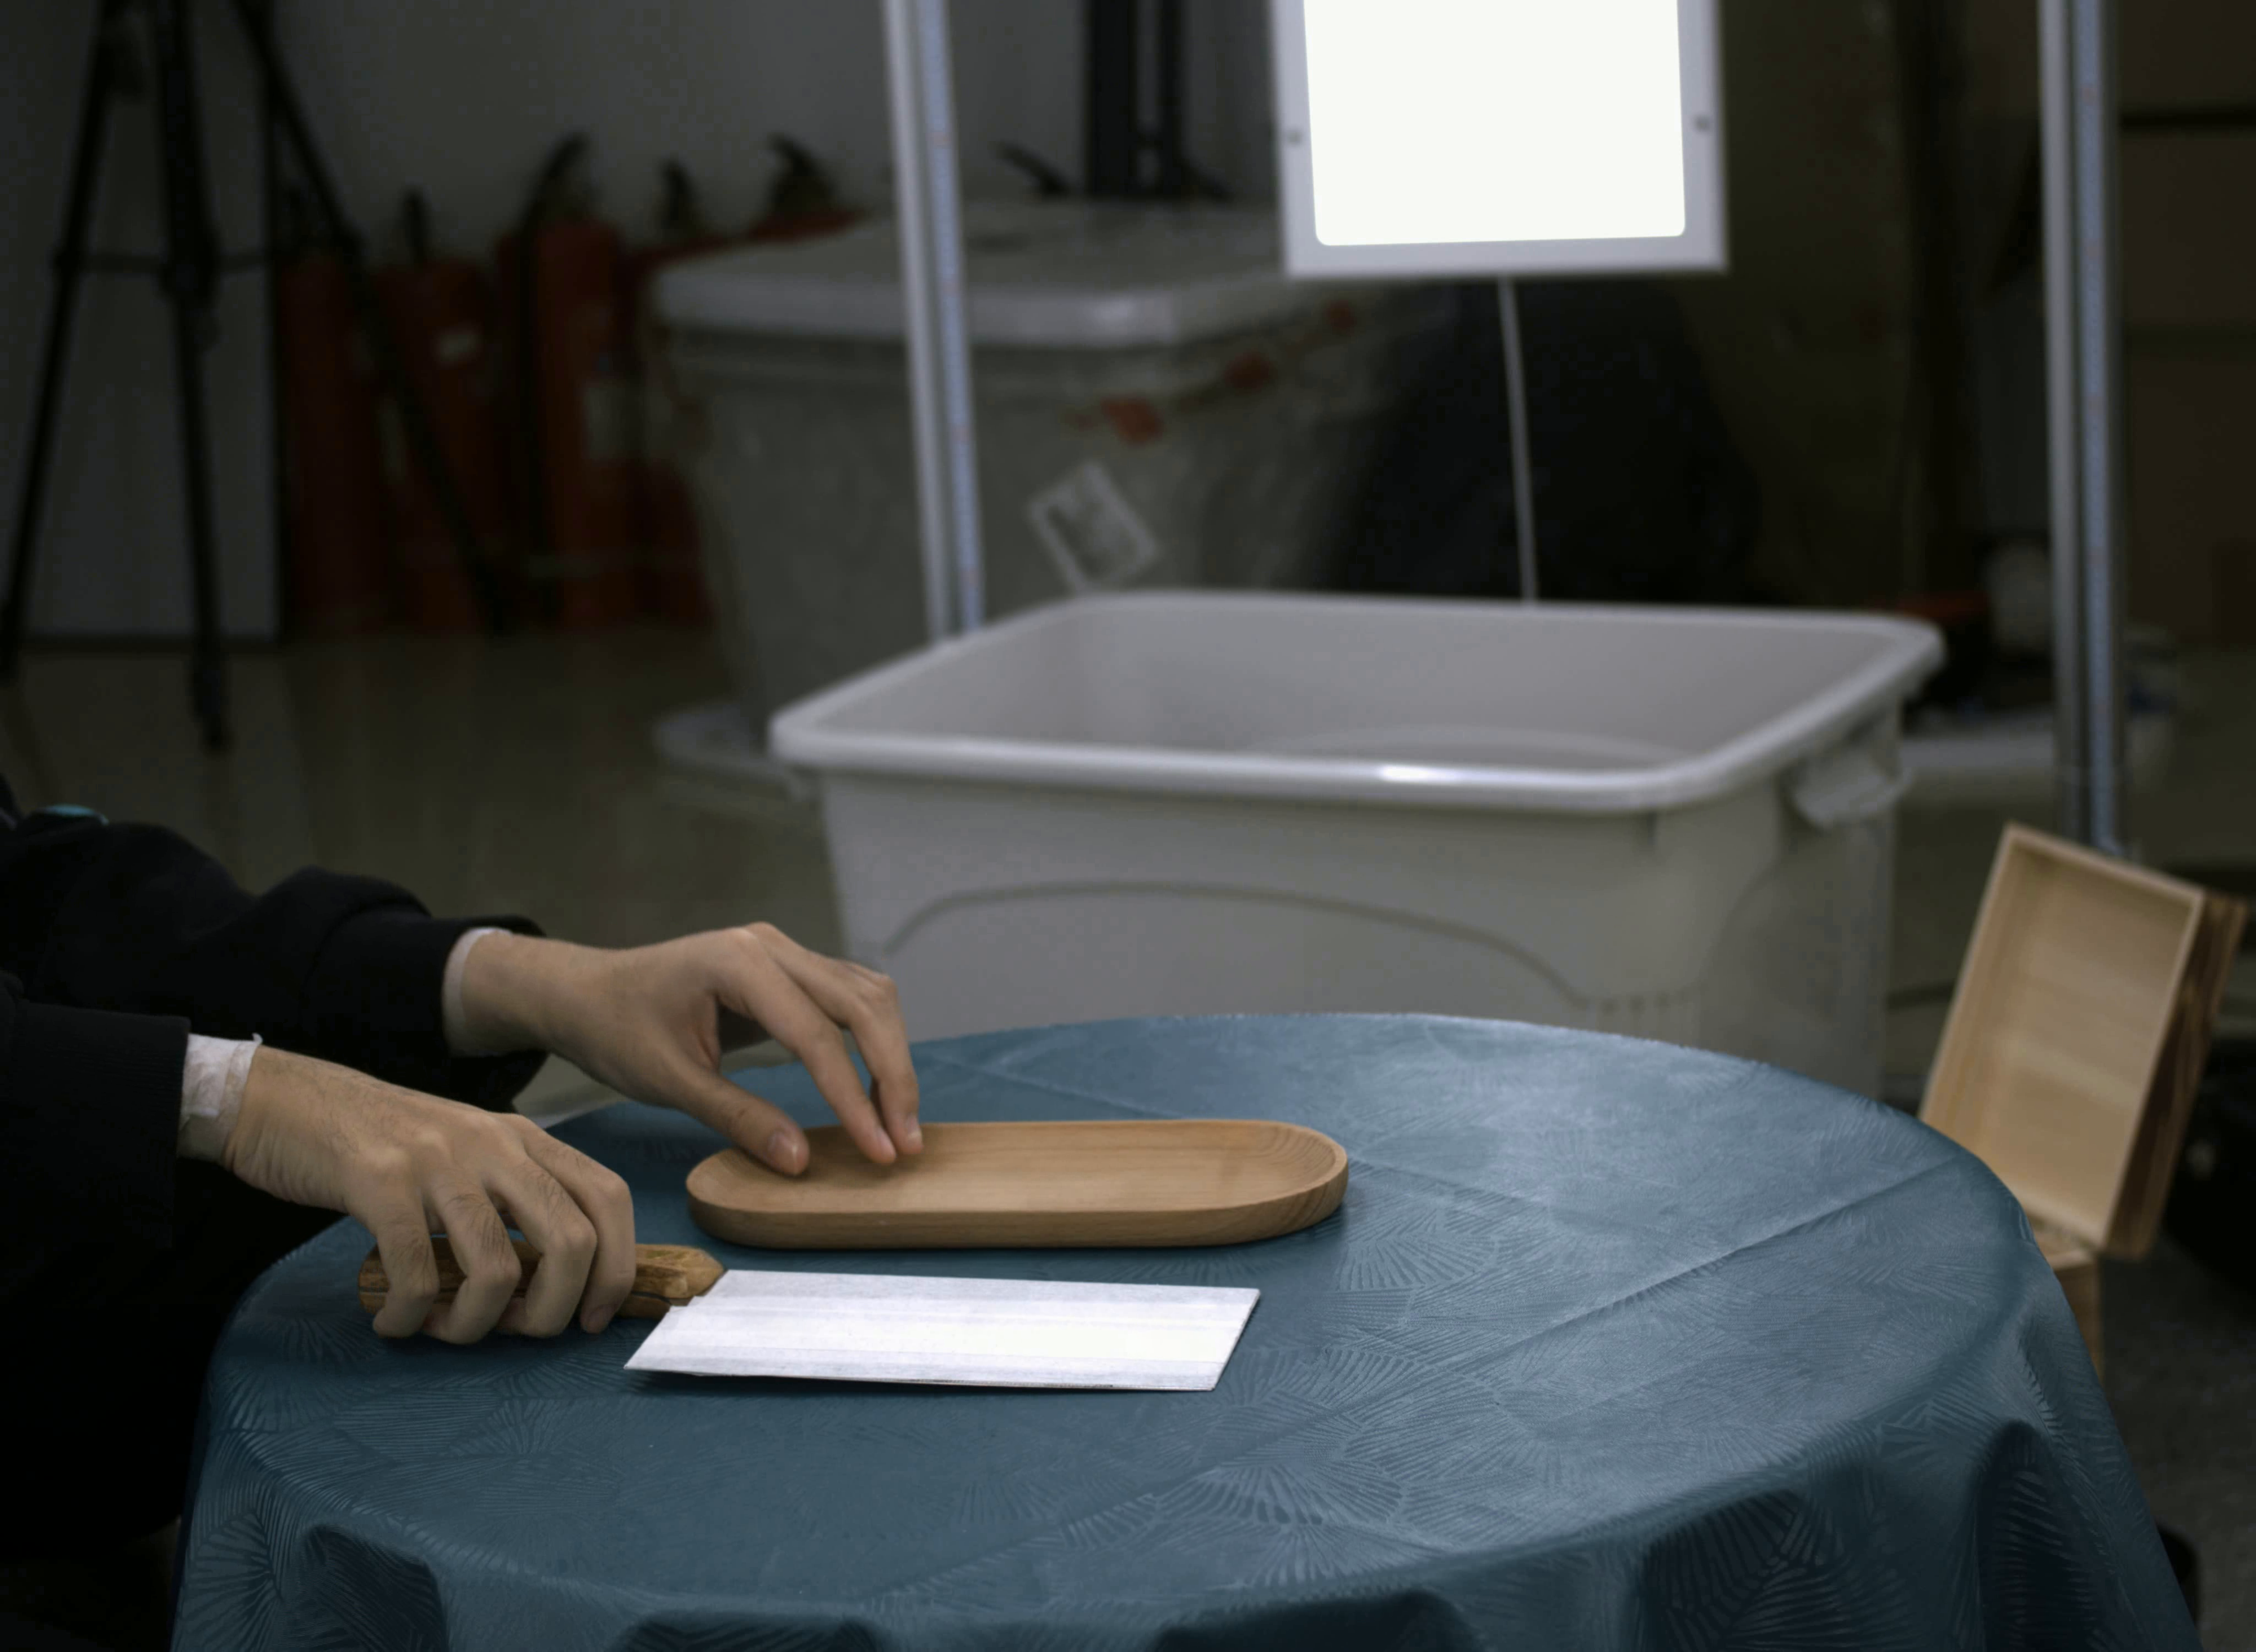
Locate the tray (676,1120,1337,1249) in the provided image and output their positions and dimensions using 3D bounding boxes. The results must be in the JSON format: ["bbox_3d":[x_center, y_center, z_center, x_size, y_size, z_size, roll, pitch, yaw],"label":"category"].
[{"bbox_3d":[-0.042,0.123,1.889,0.233,0.020,0.100,-2,13,15],"label":"tray"}]

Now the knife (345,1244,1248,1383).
[{"bbox_3d":[-0.113,0.159,1.773,0.308,0.021,0.092,1,16,14],"label":"knife"}]
